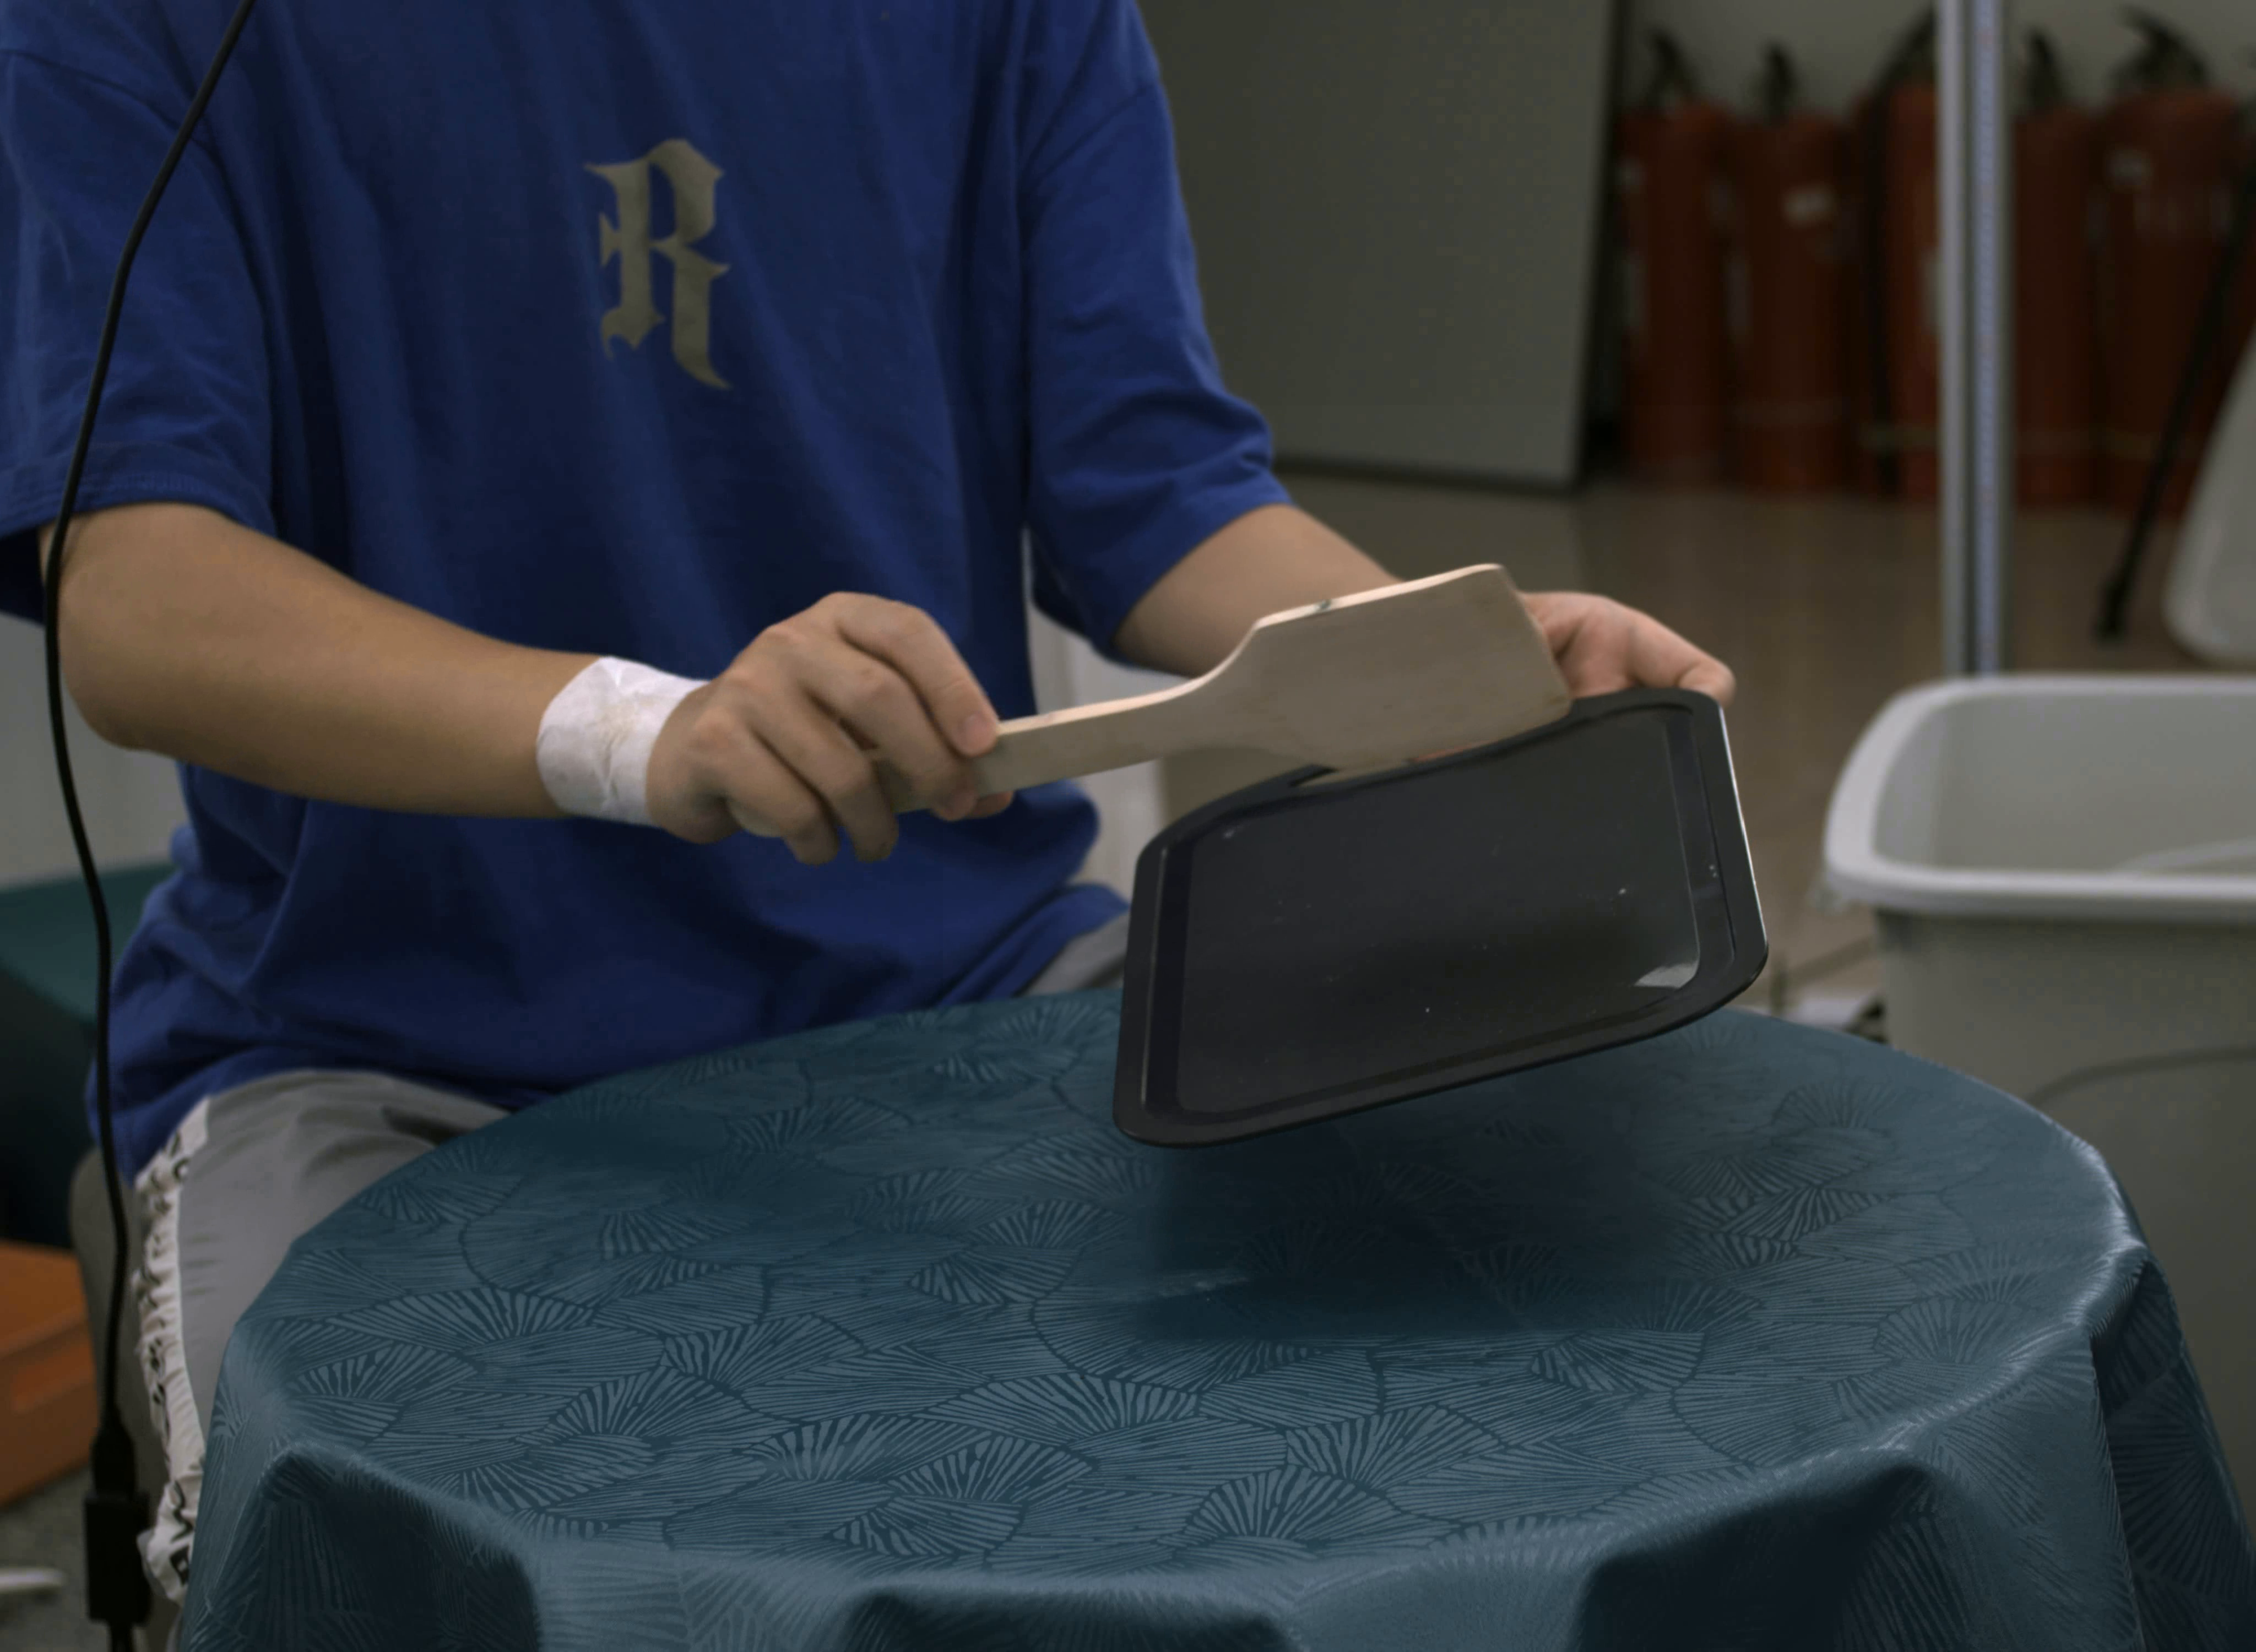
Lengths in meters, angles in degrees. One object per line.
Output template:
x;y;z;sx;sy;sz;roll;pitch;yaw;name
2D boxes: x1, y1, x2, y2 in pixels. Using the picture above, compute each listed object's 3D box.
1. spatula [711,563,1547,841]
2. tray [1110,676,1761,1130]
-0.008;-0.031;1.747;0.293;0.072;0.011;-12;41;26;spatula
0.098;0.017;1.756;0.210;0.010;0.325;-15;19;9;tray
